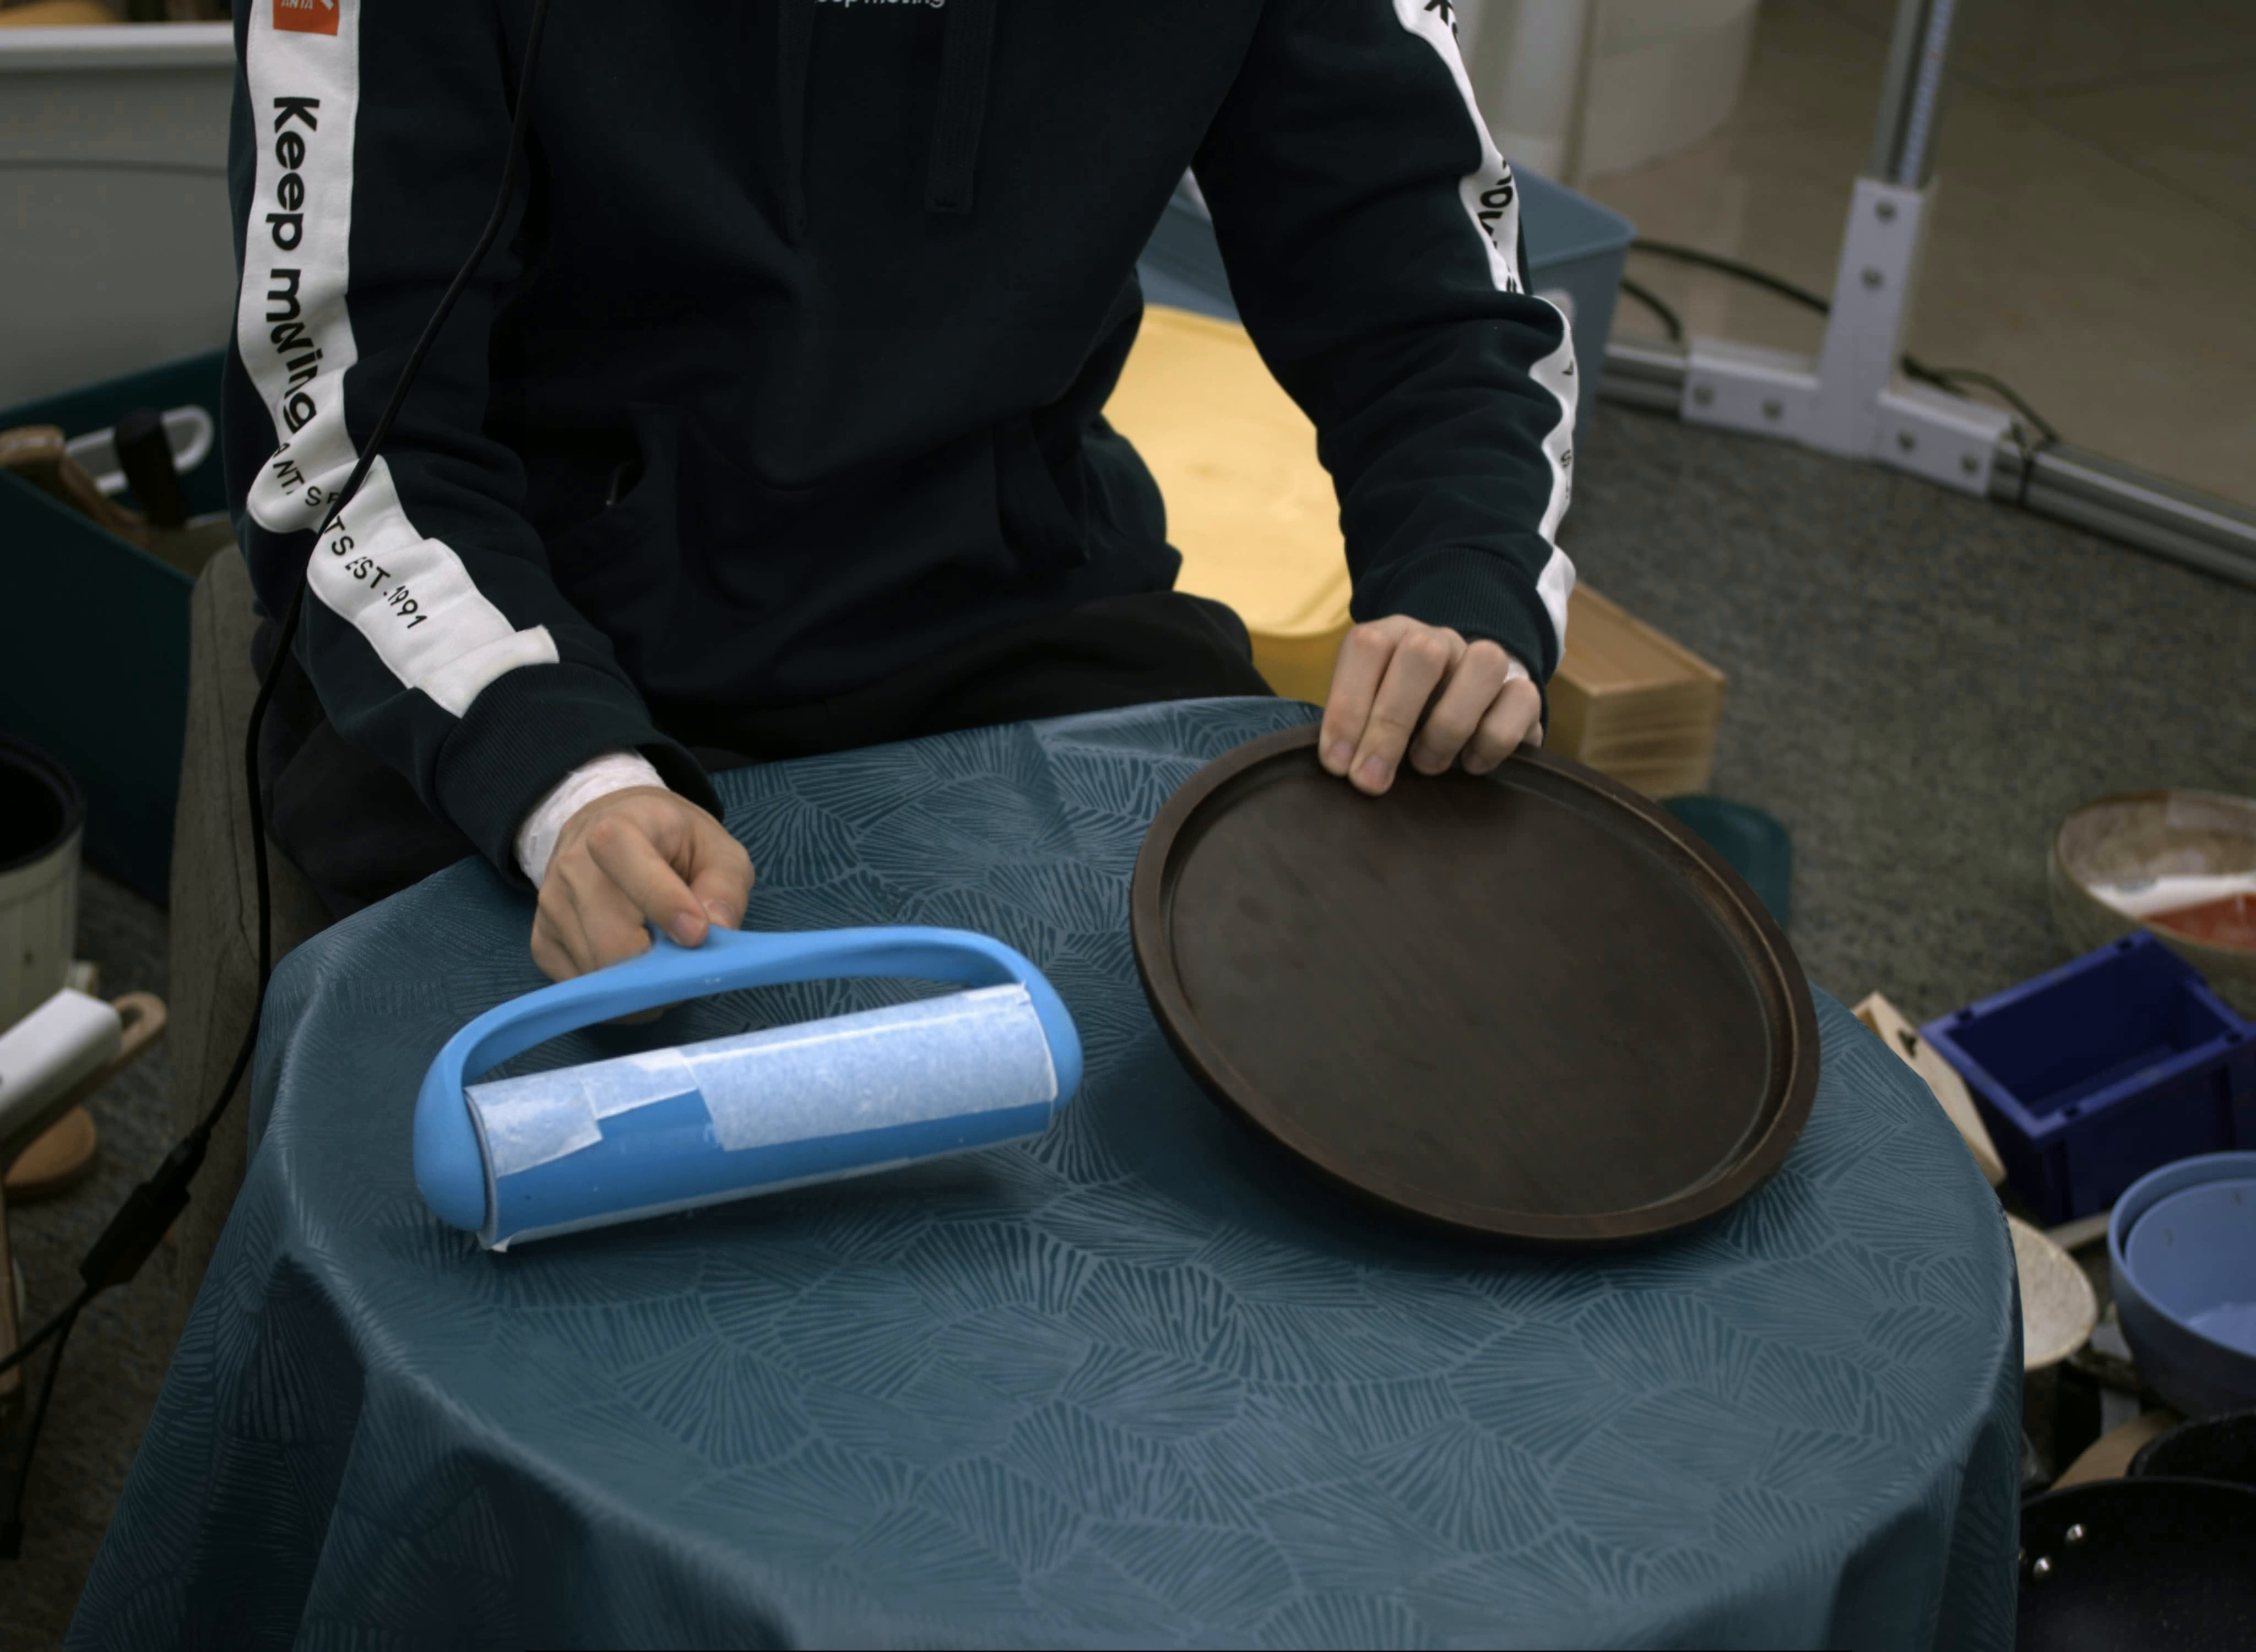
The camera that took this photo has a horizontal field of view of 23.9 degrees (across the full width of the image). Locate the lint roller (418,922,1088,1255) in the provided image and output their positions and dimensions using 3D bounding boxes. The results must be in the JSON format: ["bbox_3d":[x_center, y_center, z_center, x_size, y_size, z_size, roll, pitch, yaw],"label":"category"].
[{"bbox_3d":[-0.145,0.067,1.794,0.228,0.067,0.182,-13,32,-20],"label":"lint roller"}]

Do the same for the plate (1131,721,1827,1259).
[{"bbox_3d":[0.121,0.056,1.860,0.253,0.029,0.257,11,42,-11],"label":"plate"}]
